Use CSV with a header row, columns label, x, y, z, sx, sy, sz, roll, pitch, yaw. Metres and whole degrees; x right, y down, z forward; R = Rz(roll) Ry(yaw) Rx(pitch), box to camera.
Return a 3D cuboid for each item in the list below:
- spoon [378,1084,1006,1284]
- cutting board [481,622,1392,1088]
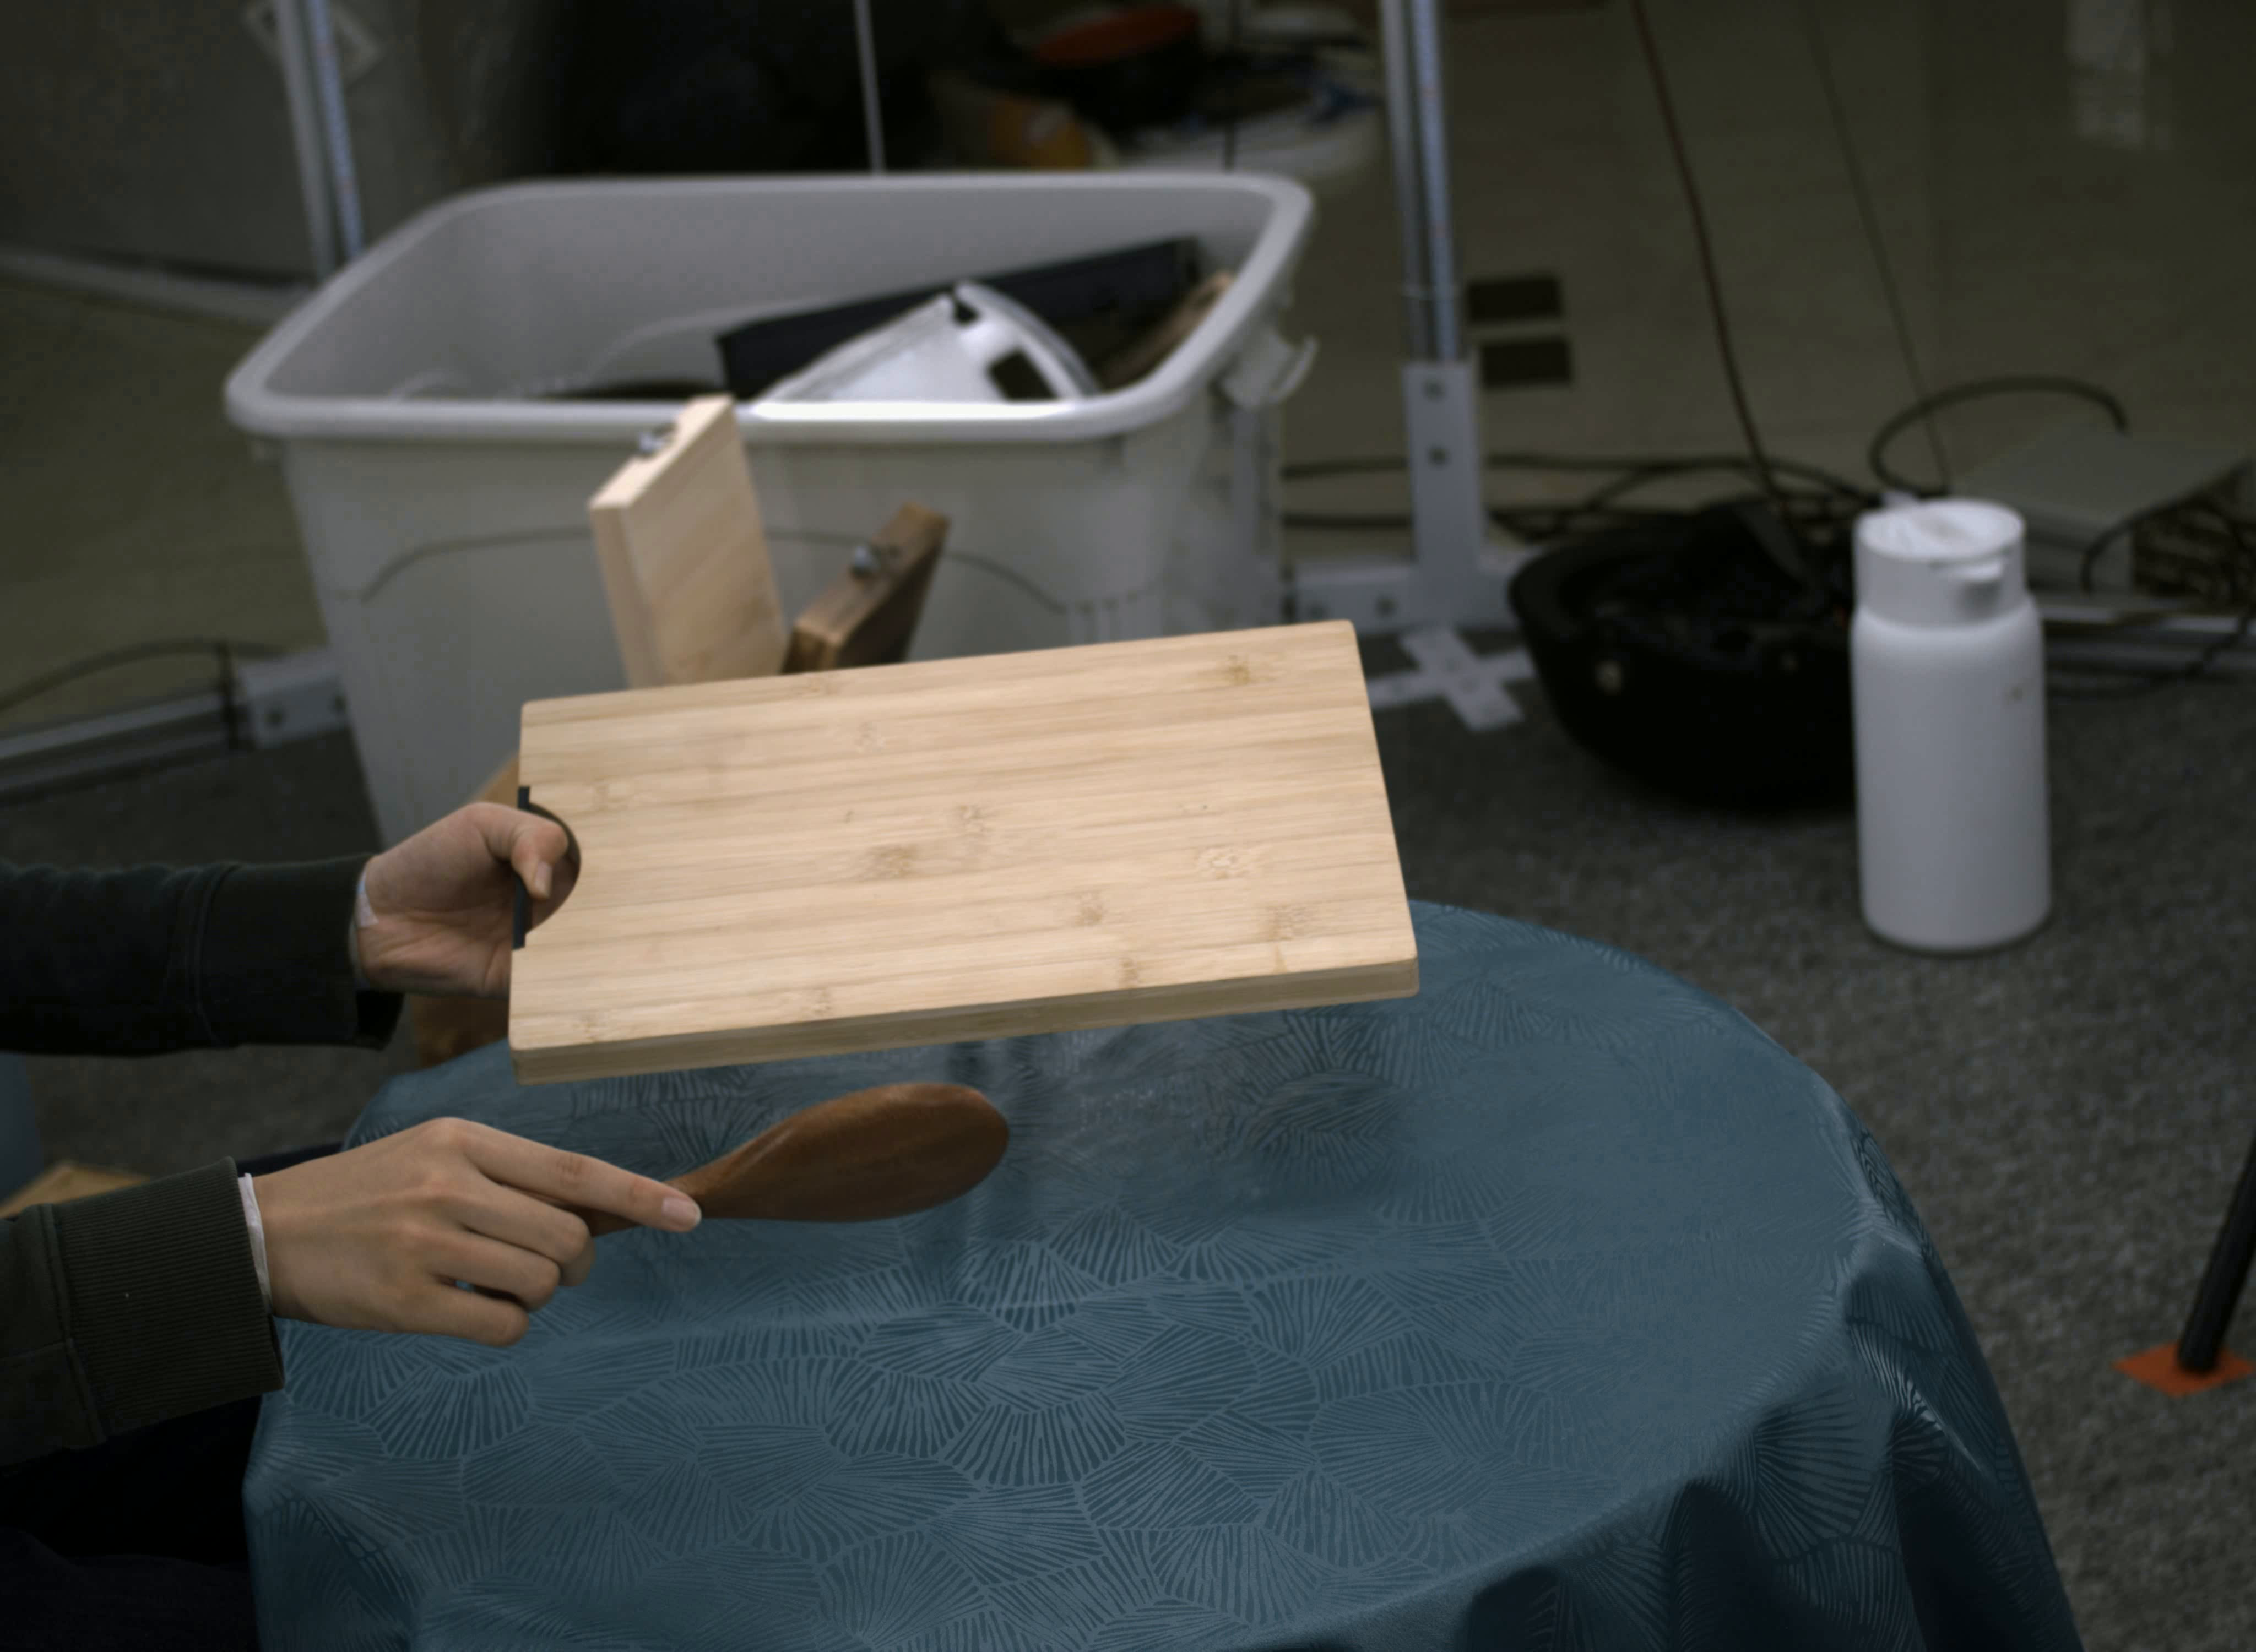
label,x,y,z,sx,sy,sz,roll,pitch,yaw
spoon,-0.146,0.125,1.910,0.215,0.077,0.017,-11,58,-1
cutting board,-0.076,0.008,2.202,0.348,0.024,0.246,-6,34,-1
